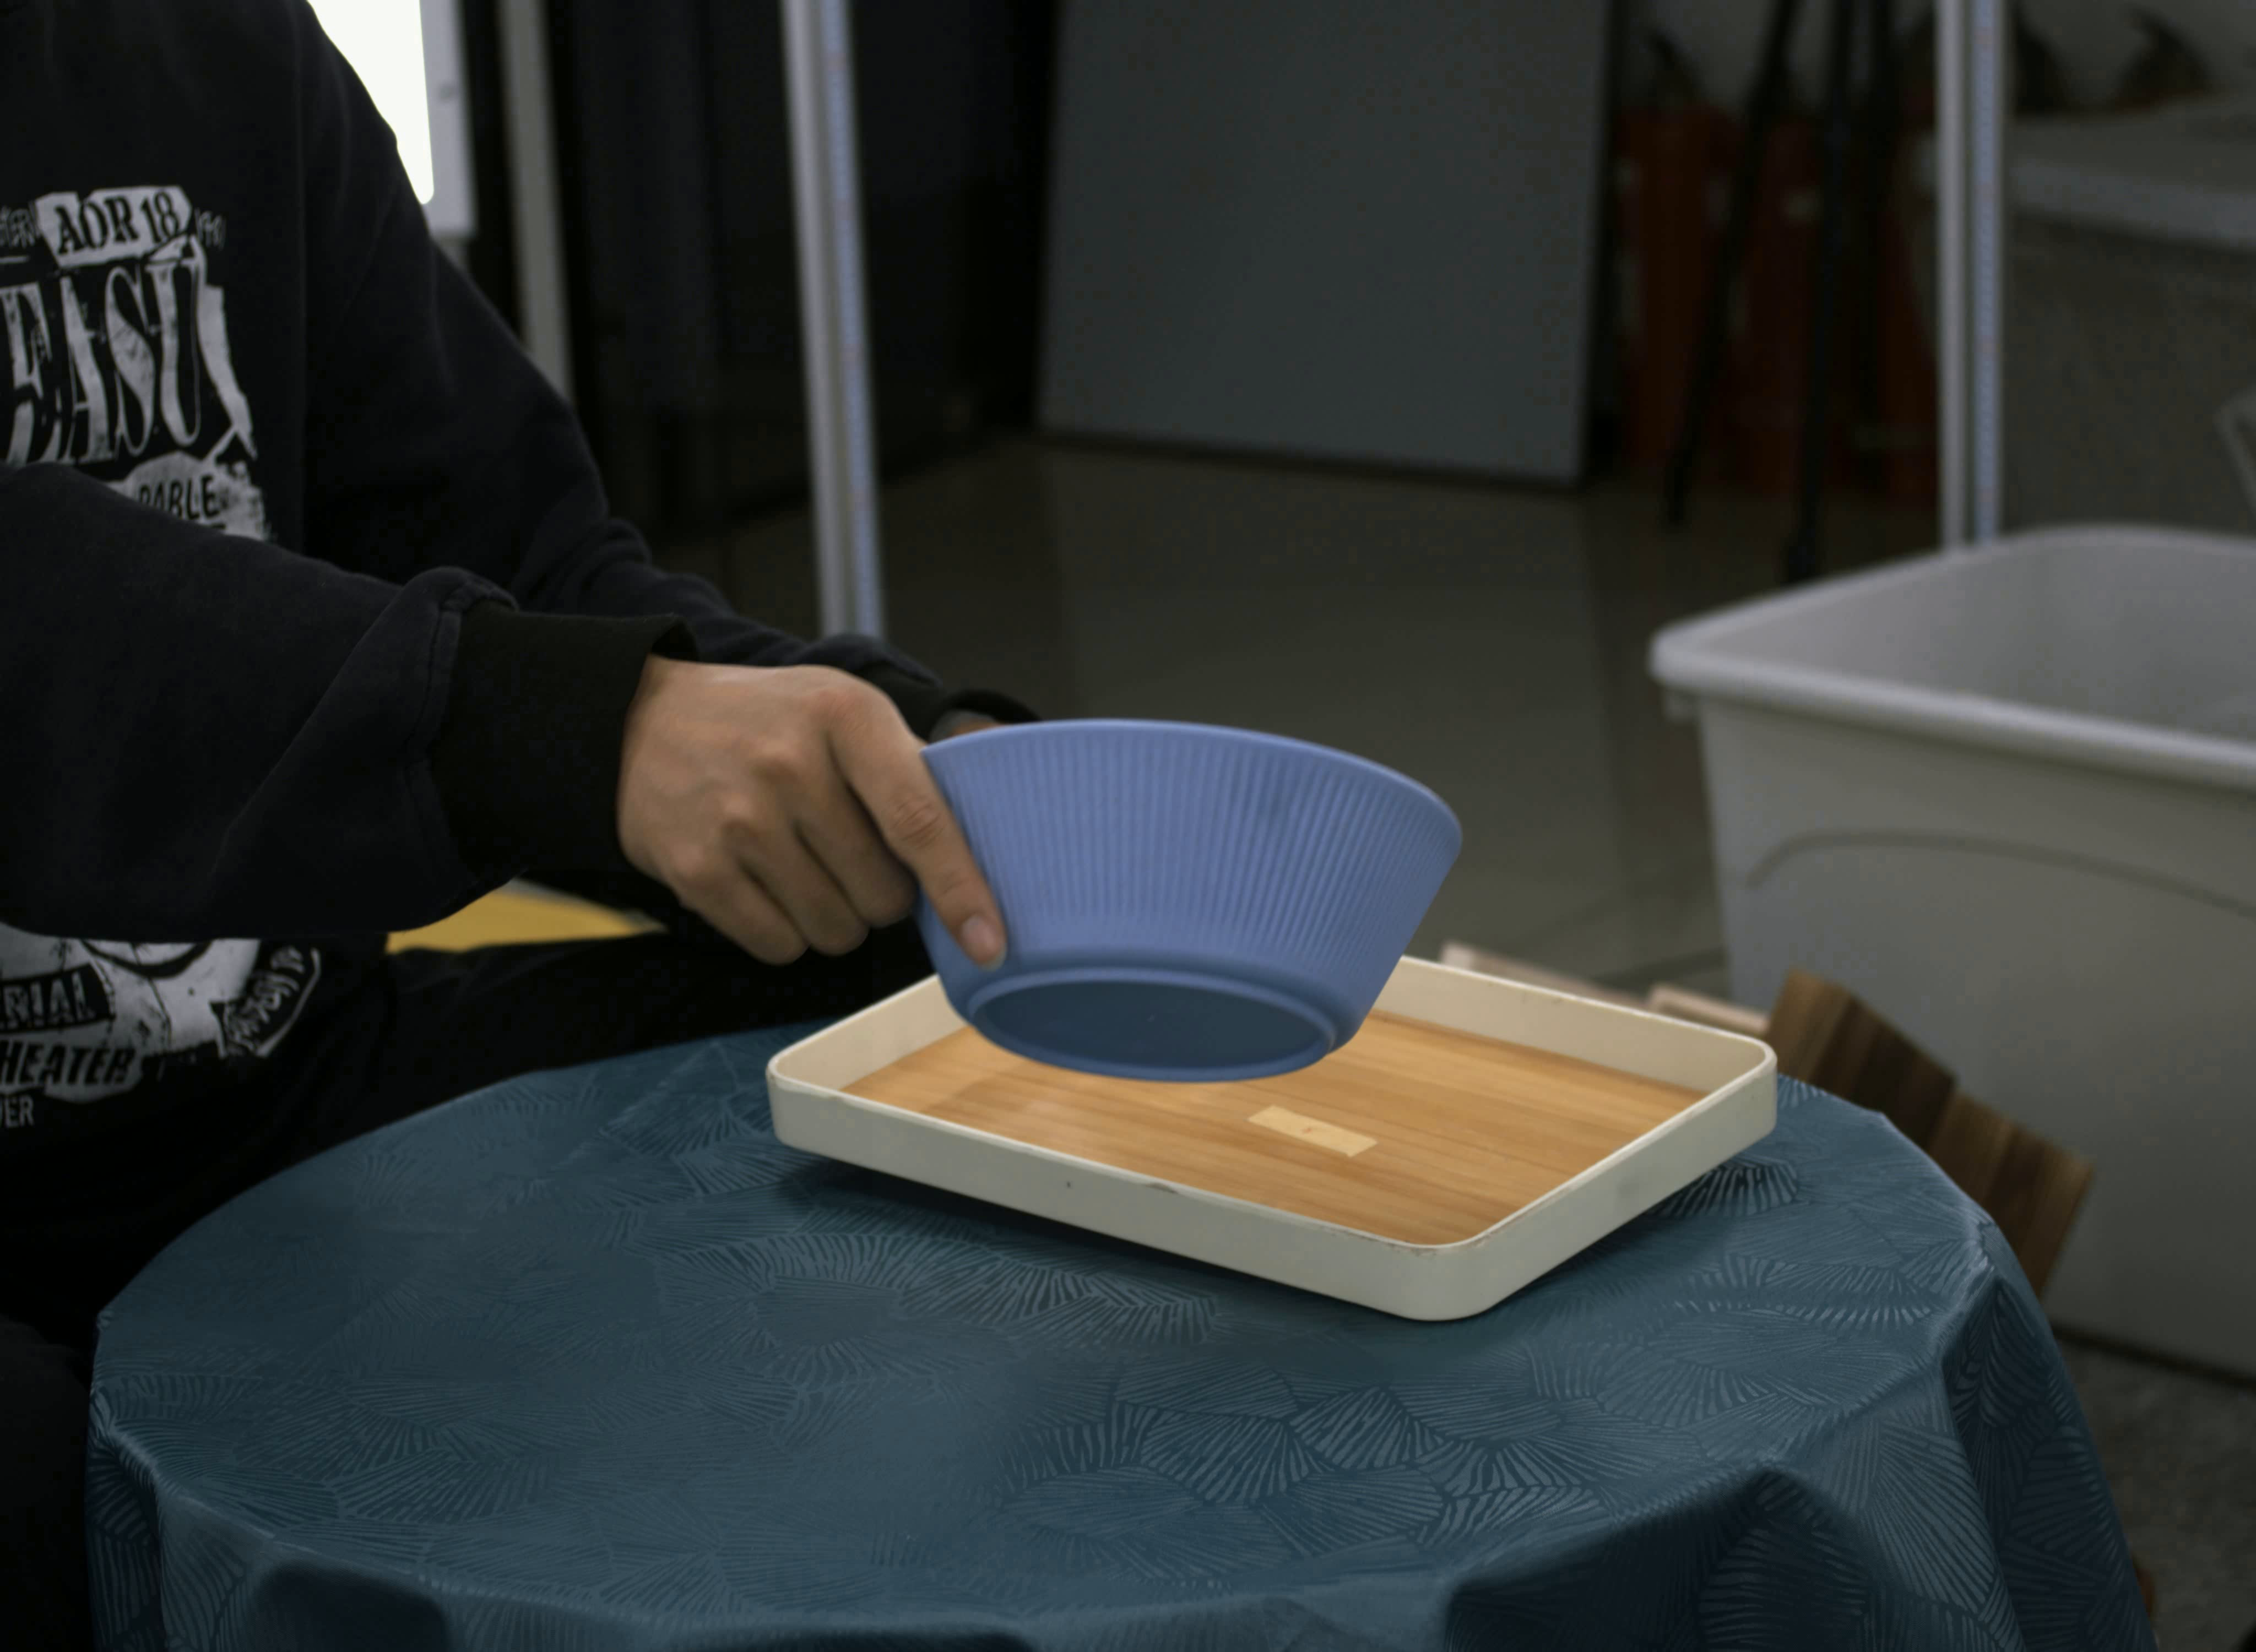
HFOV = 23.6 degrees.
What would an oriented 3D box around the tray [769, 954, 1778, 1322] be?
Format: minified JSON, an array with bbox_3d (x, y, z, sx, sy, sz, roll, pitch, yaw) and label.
[{"bbox_3d":[0.046,0.089,1.774,0.303,0.027,0.188,12,26,40],"label":"tray"}]

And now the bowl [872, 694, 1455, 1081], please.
[{"bbox_3d":[0.007,0.025,1.586,0.174,0.071,0.176,6,-19,1],"label":"bowl"}]
